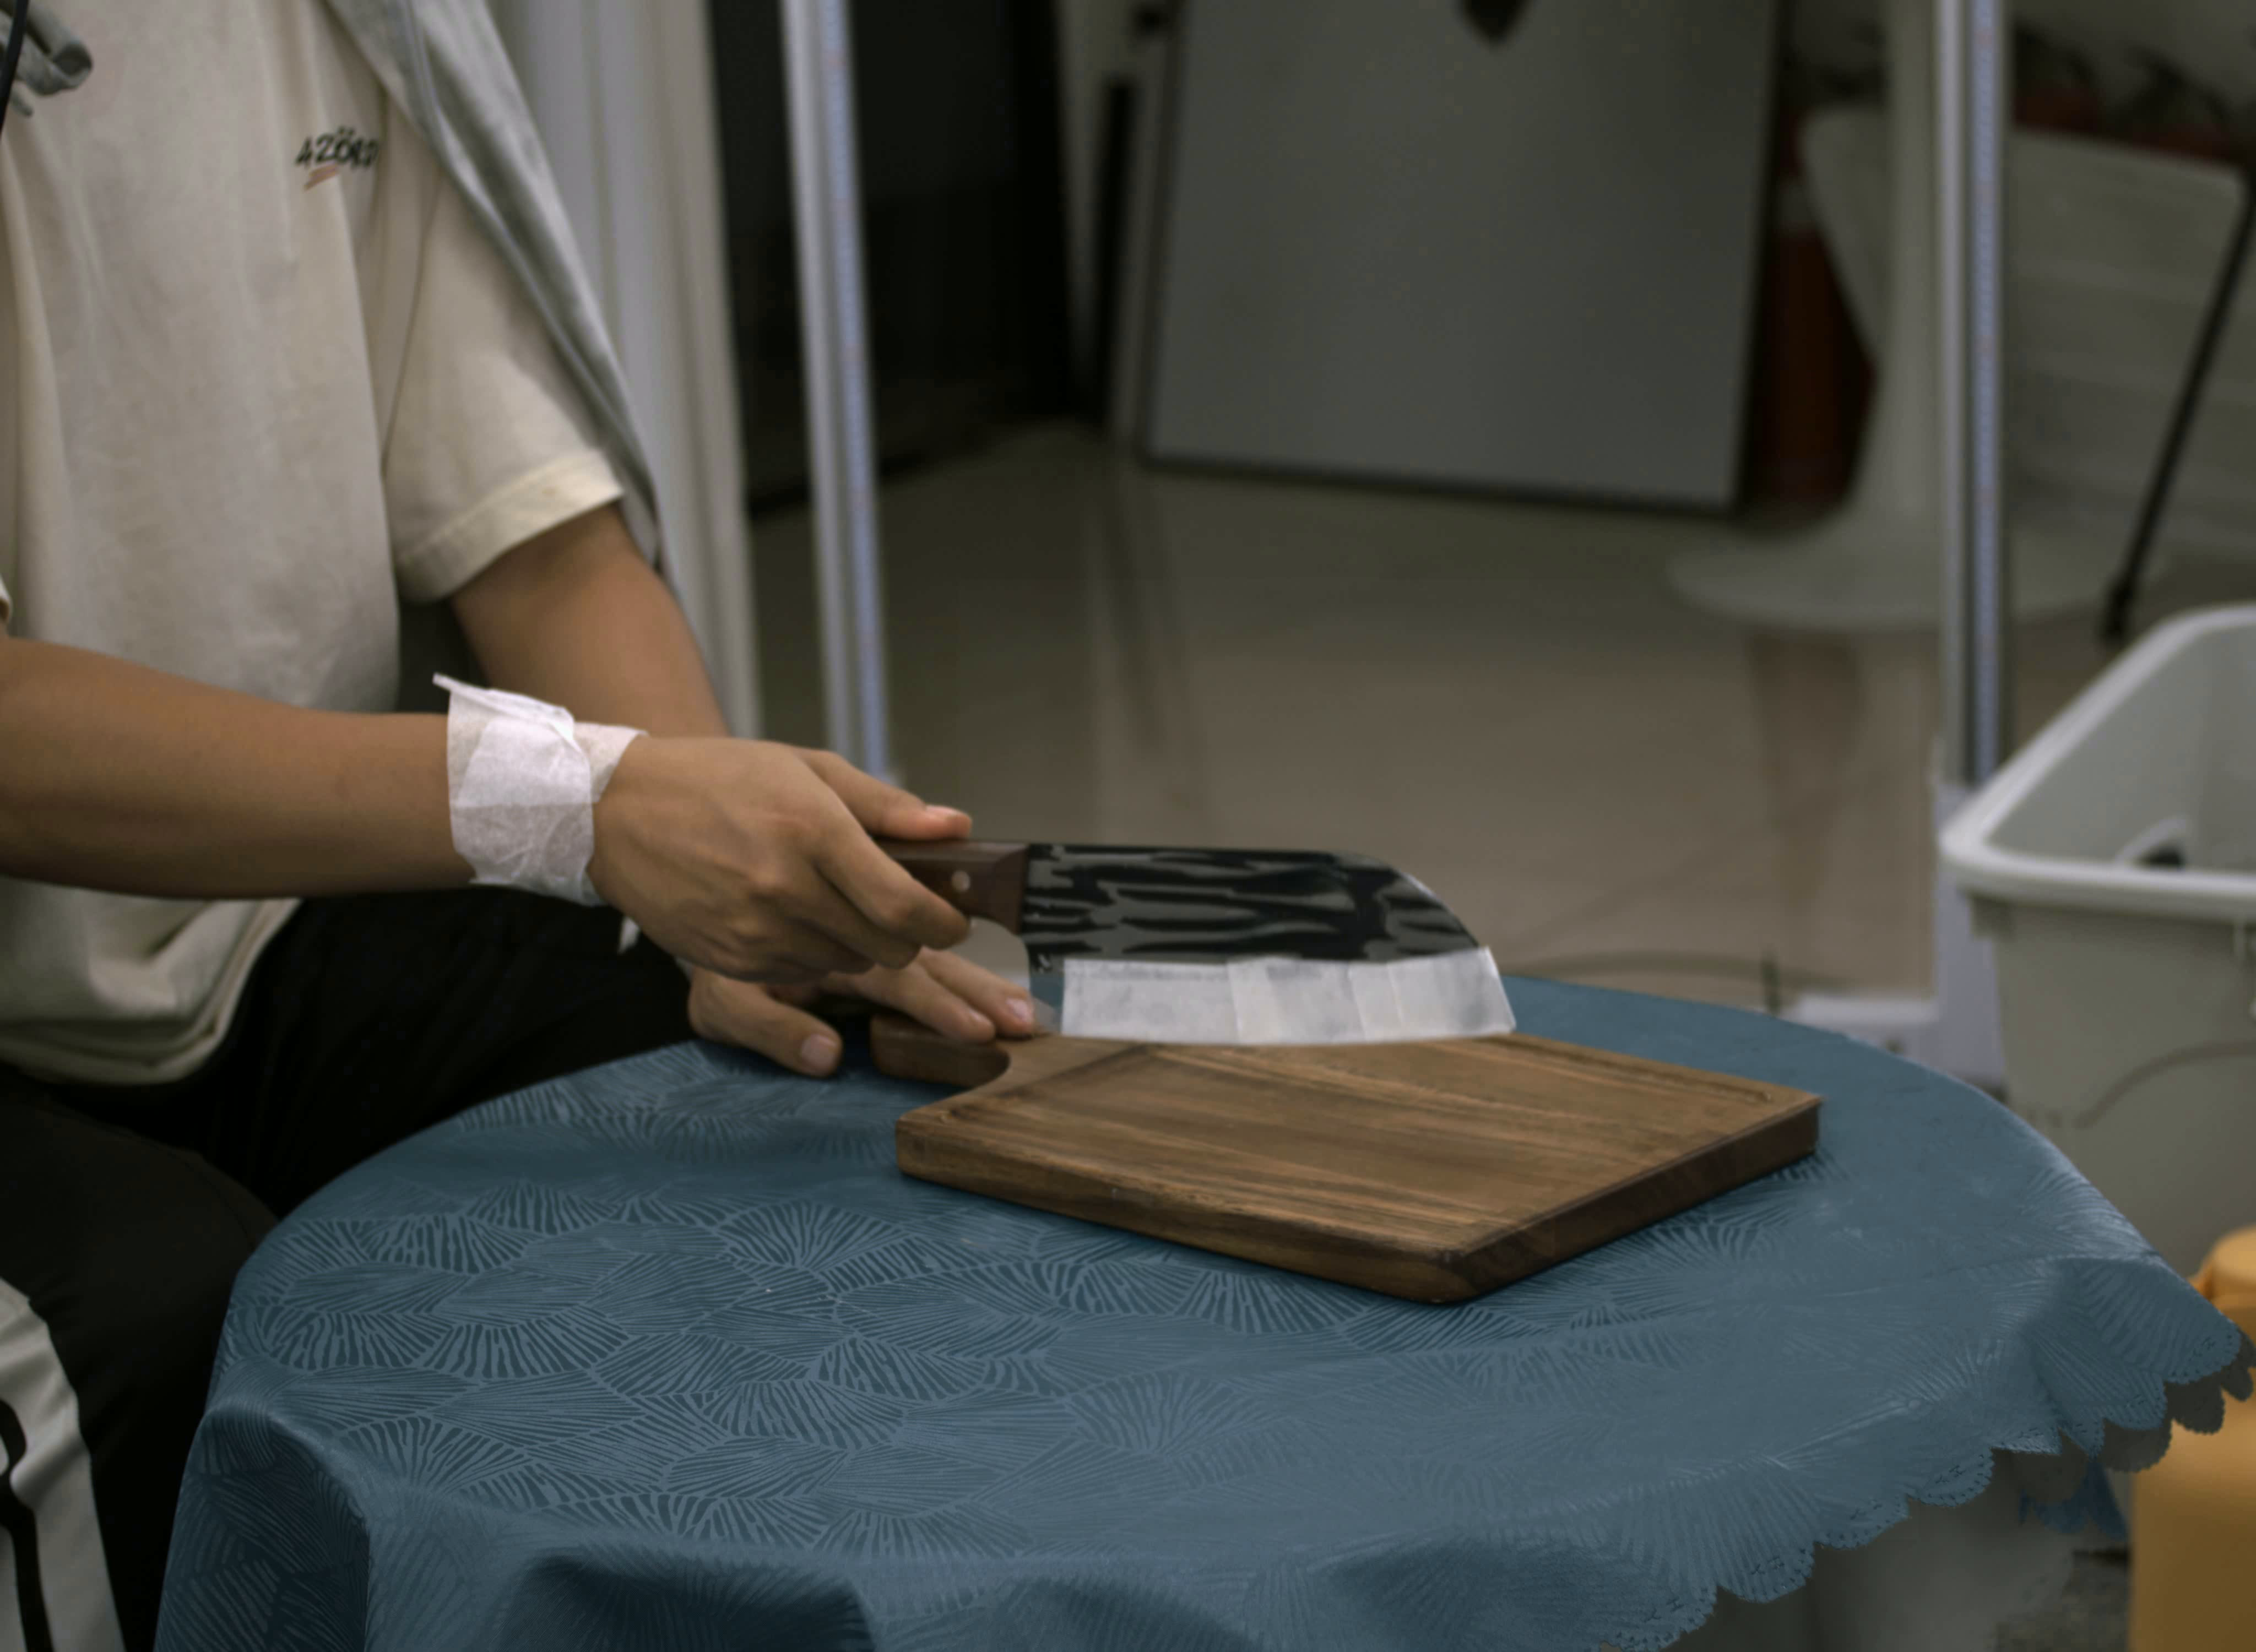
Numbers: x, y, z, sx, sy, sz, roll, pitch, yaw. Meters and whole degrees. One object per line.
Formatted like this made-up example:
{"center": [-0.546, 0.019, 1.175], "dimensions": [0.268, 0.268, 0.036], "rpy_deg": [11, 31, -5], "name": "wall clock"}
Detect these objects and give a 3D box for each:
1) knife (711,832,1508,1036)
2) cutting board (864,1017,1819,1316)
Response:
{"center": [-0.010, 0.037, 1.814], "dimensions": [0.300, 0.069, 0.023], "rpy_deg": [2, 9, 28], "name": "knife"}
{"center": [0.040, 0.099, 1.820], "dimensions": [0.355, 0.023, 0.197], "rpy_deg": [8, 20, 44], "name": "cutting board"}
